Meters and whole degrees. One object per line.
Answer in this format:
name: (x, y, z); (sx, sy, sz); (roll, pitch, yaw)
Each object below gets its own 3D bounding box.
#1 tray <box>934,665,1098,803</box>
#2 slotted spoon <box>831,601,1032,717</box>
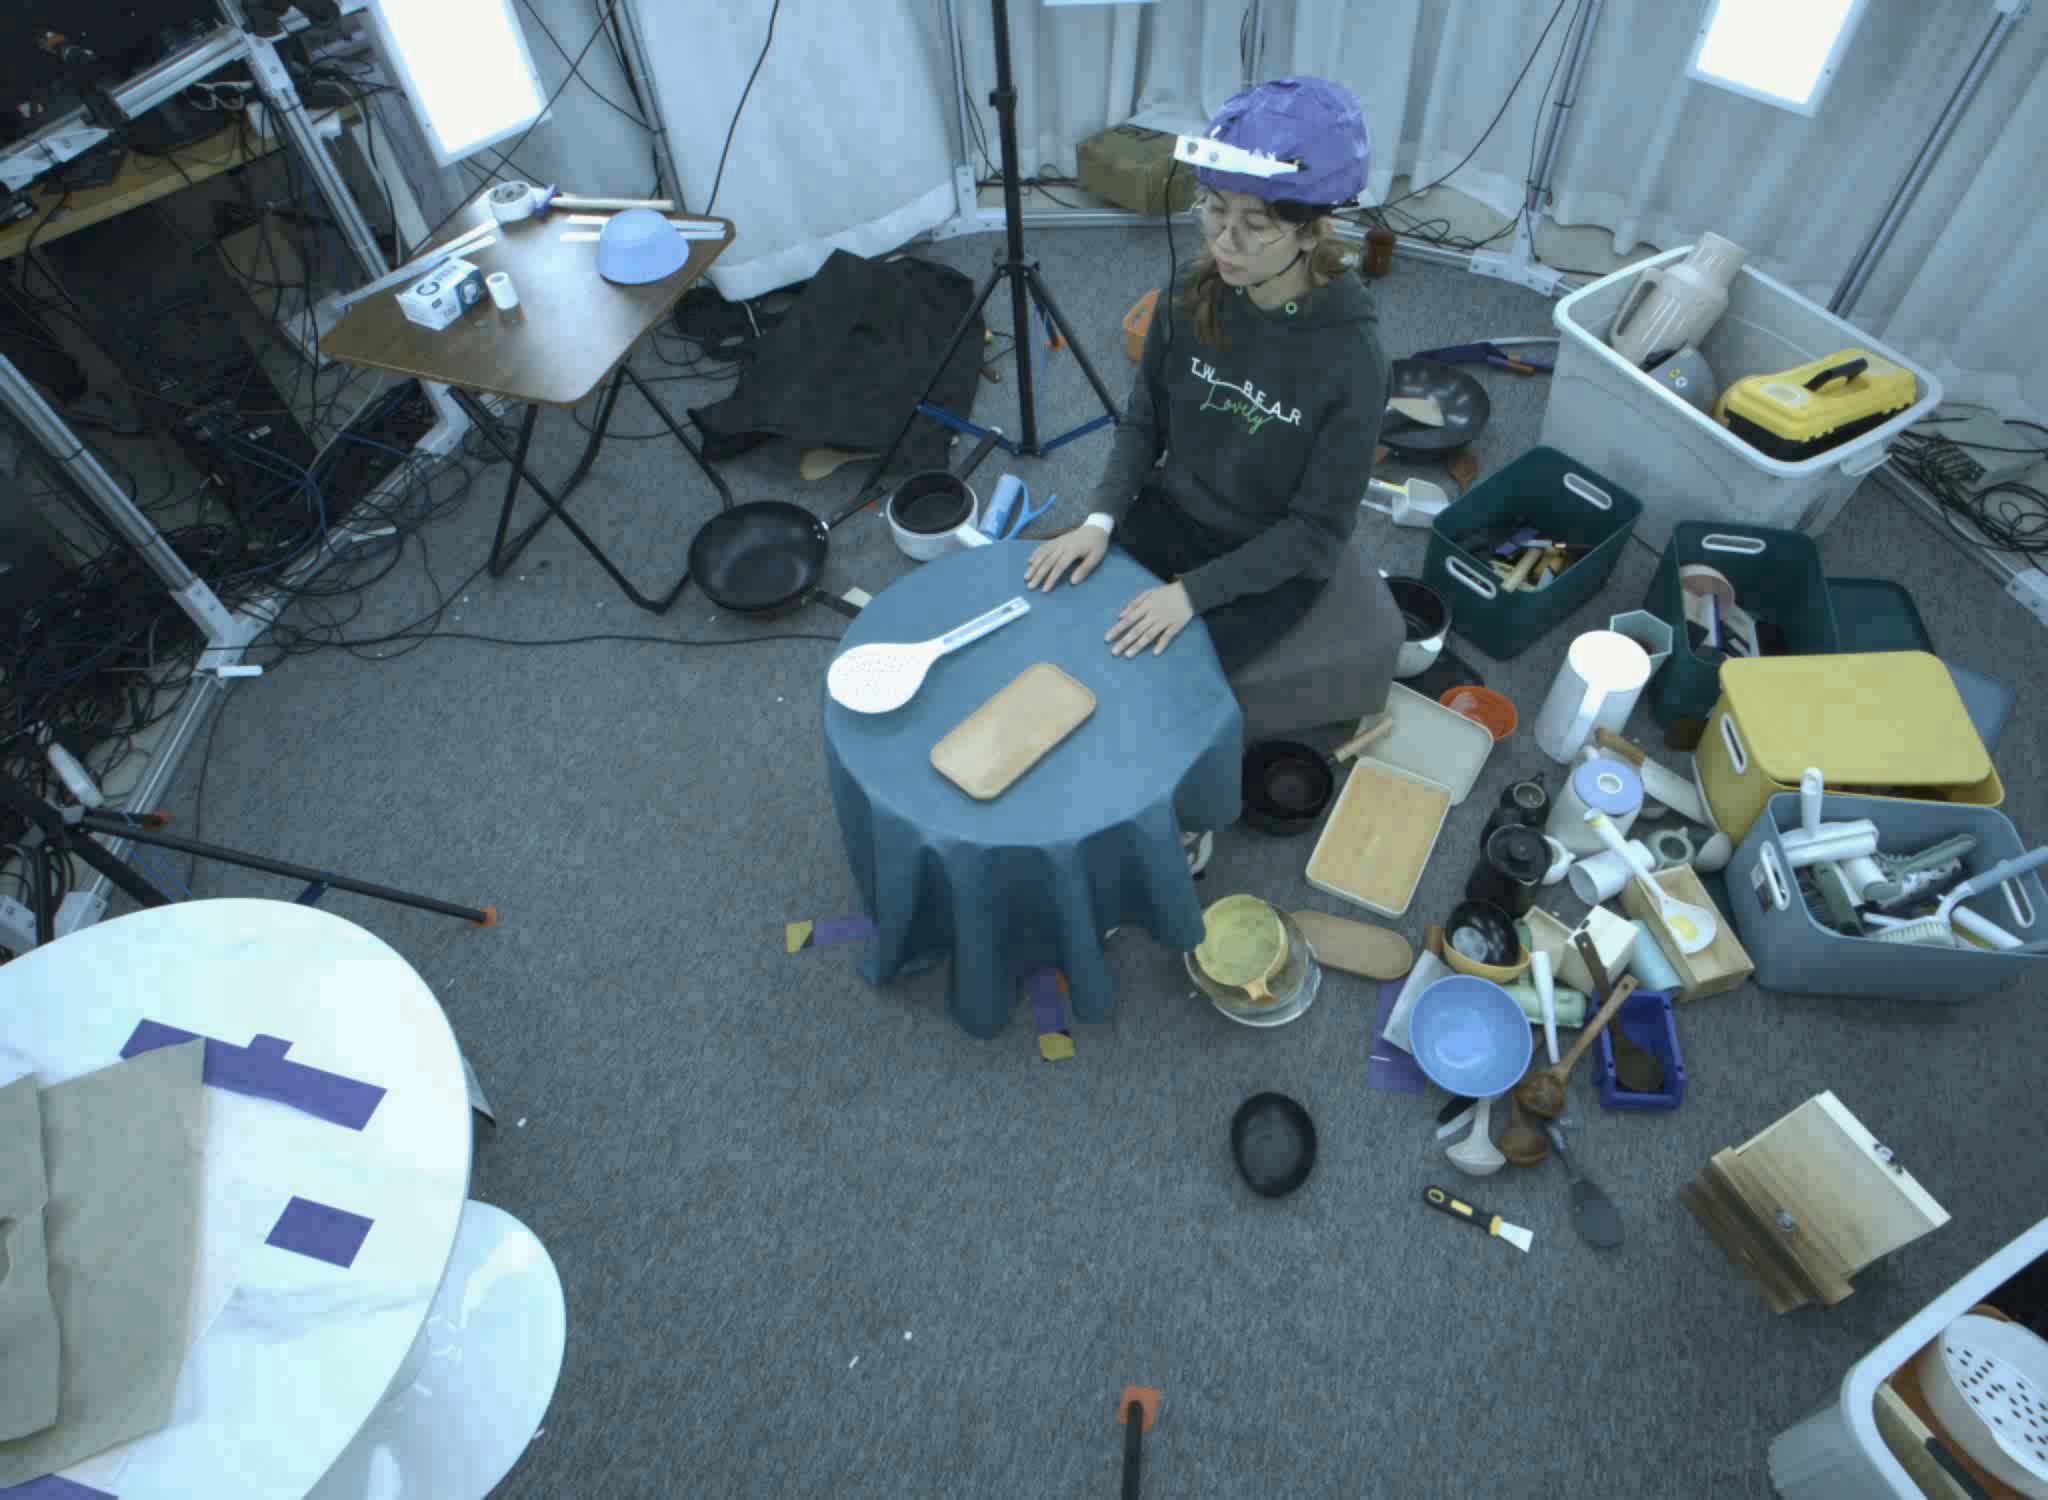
tray: (-0.010, -0.025, 1.806); (0.128, 0.023, 0.252); (38, 63, 23)
slotted spoon: (-0.135, -0.149, 1.878); (0.352, 0.046, 0.133); (-32, 62, -20)
